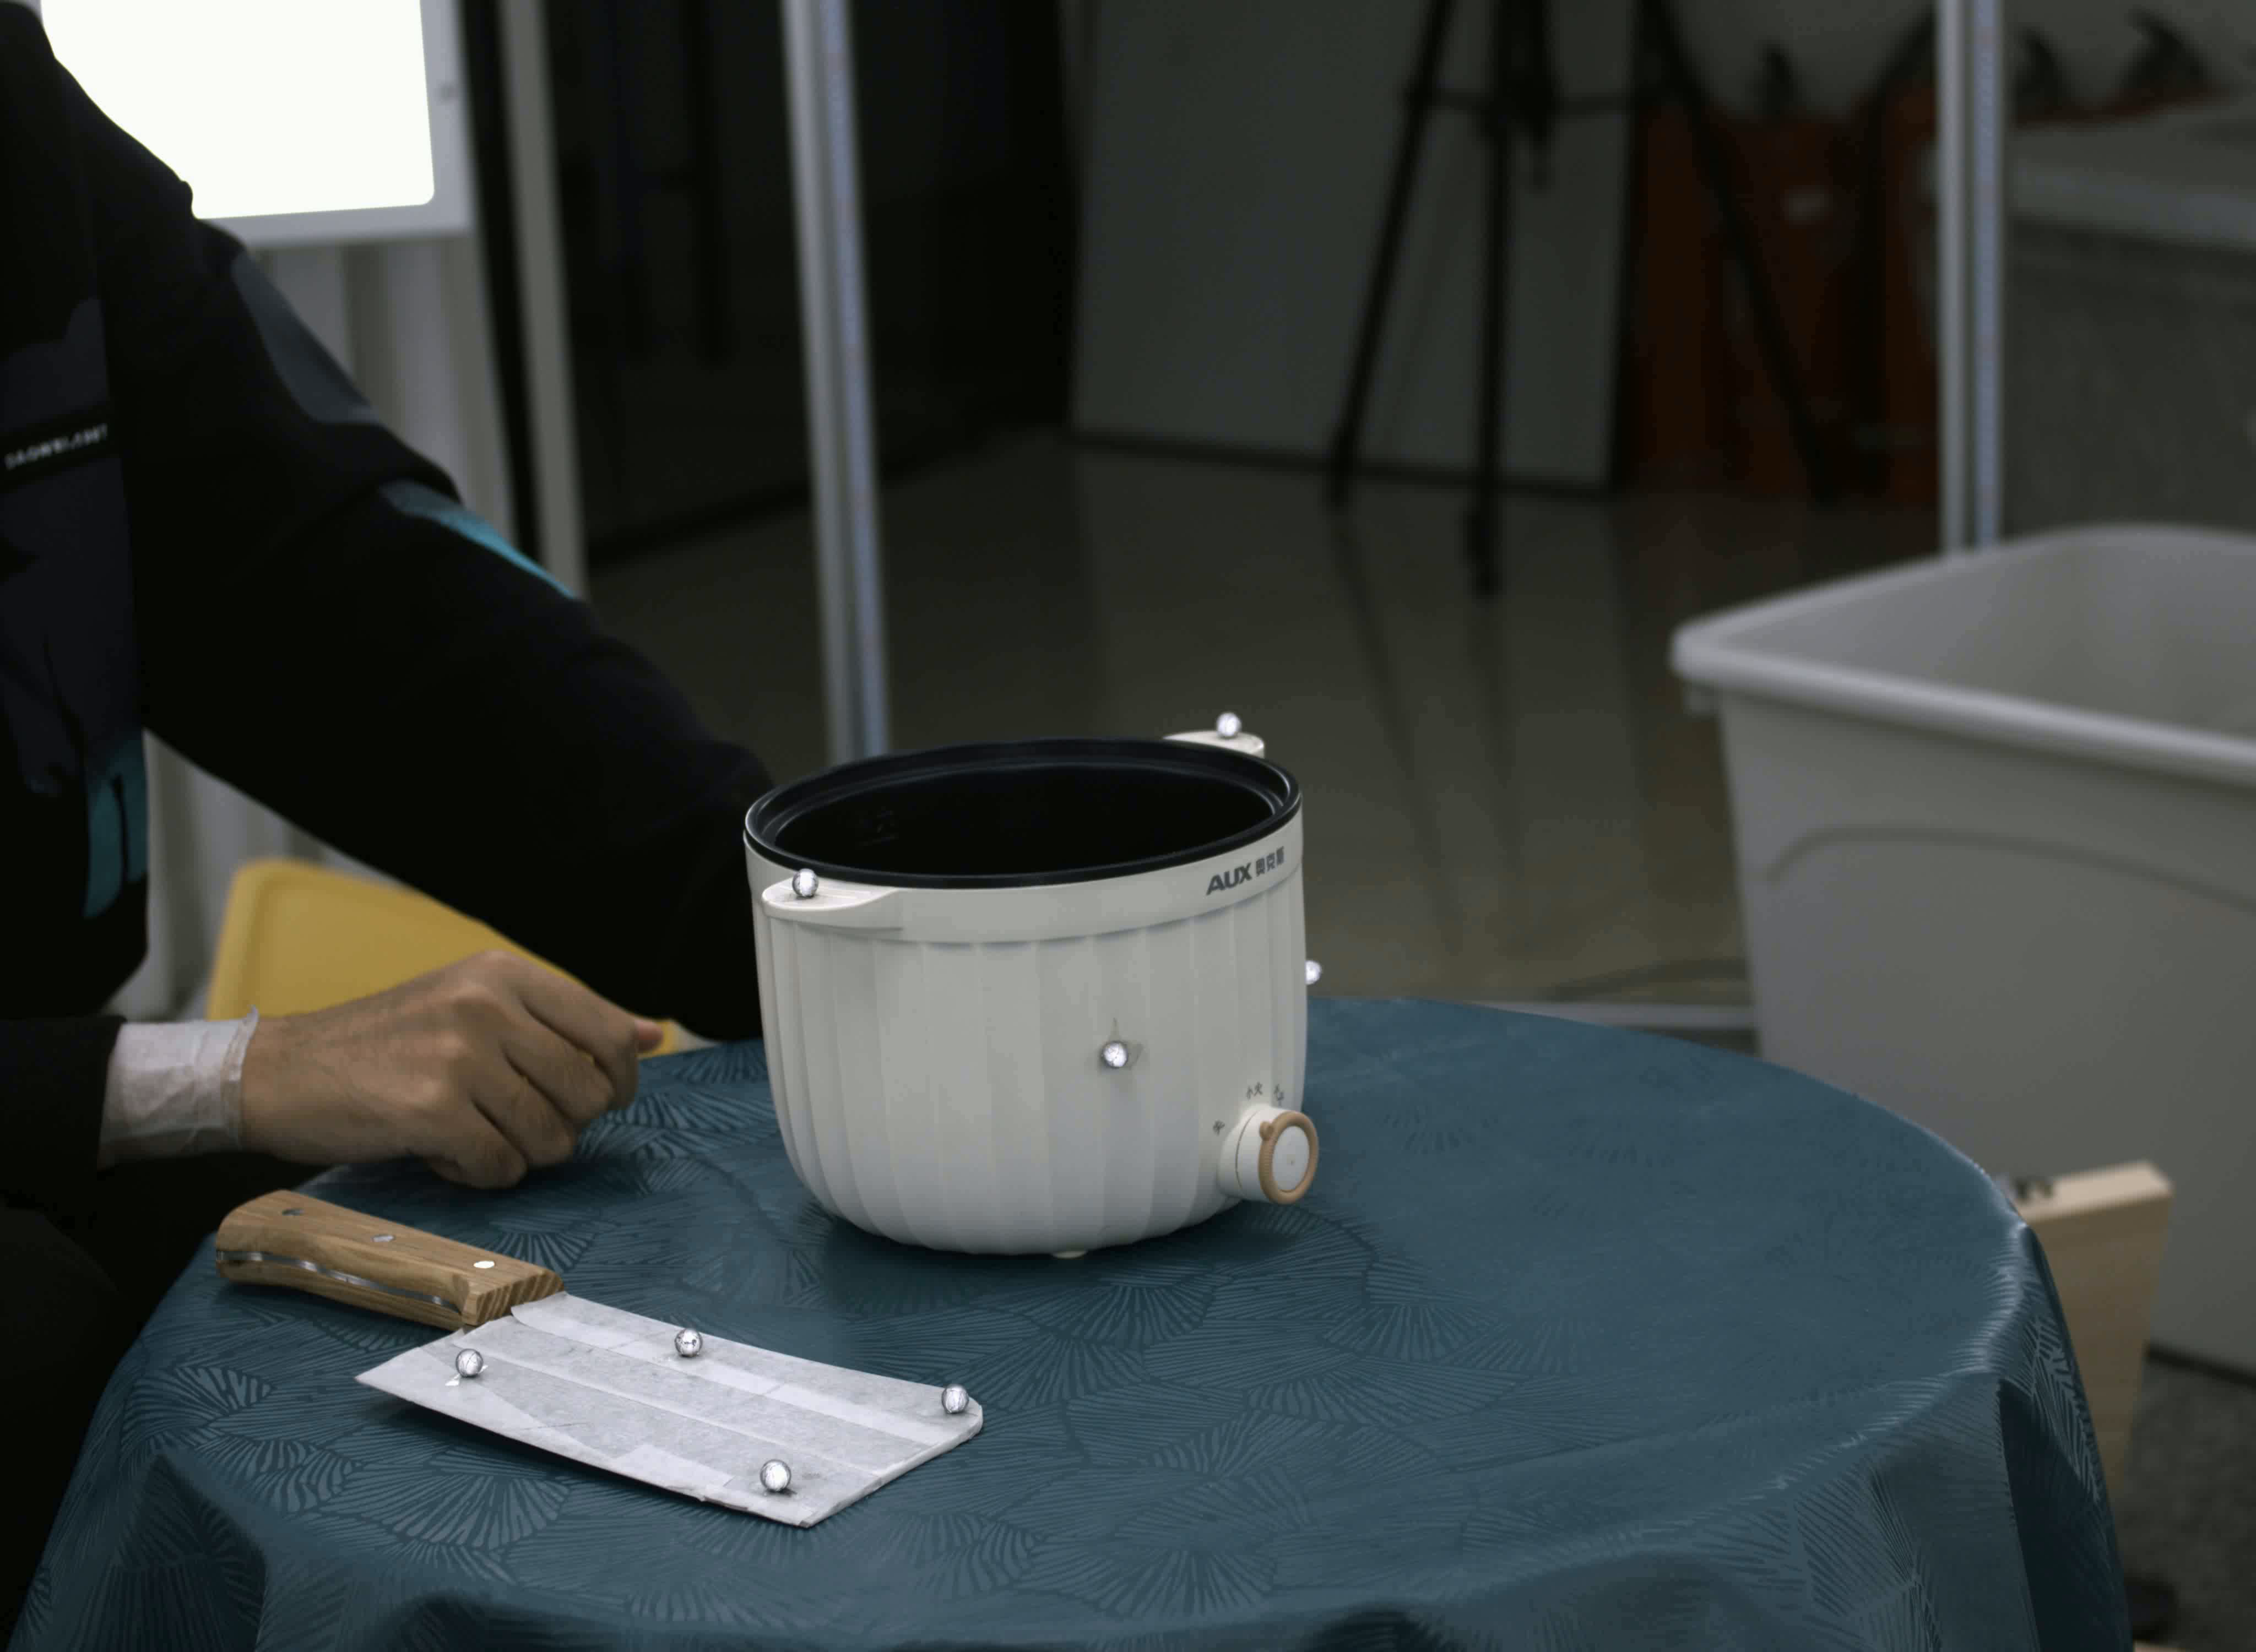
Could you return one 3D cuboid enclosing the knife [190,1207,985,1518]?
[{"bbox_3d":[-0.174,0.159,1.632,0.318,0.022,0.111,12,22,43],"label":"knife"}]

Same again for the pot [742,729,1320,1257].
[{"bbox_3d":[-0.025,0.056,1.749,0.192,0.144,0.236,3,16,38],"label":"pot"}]
